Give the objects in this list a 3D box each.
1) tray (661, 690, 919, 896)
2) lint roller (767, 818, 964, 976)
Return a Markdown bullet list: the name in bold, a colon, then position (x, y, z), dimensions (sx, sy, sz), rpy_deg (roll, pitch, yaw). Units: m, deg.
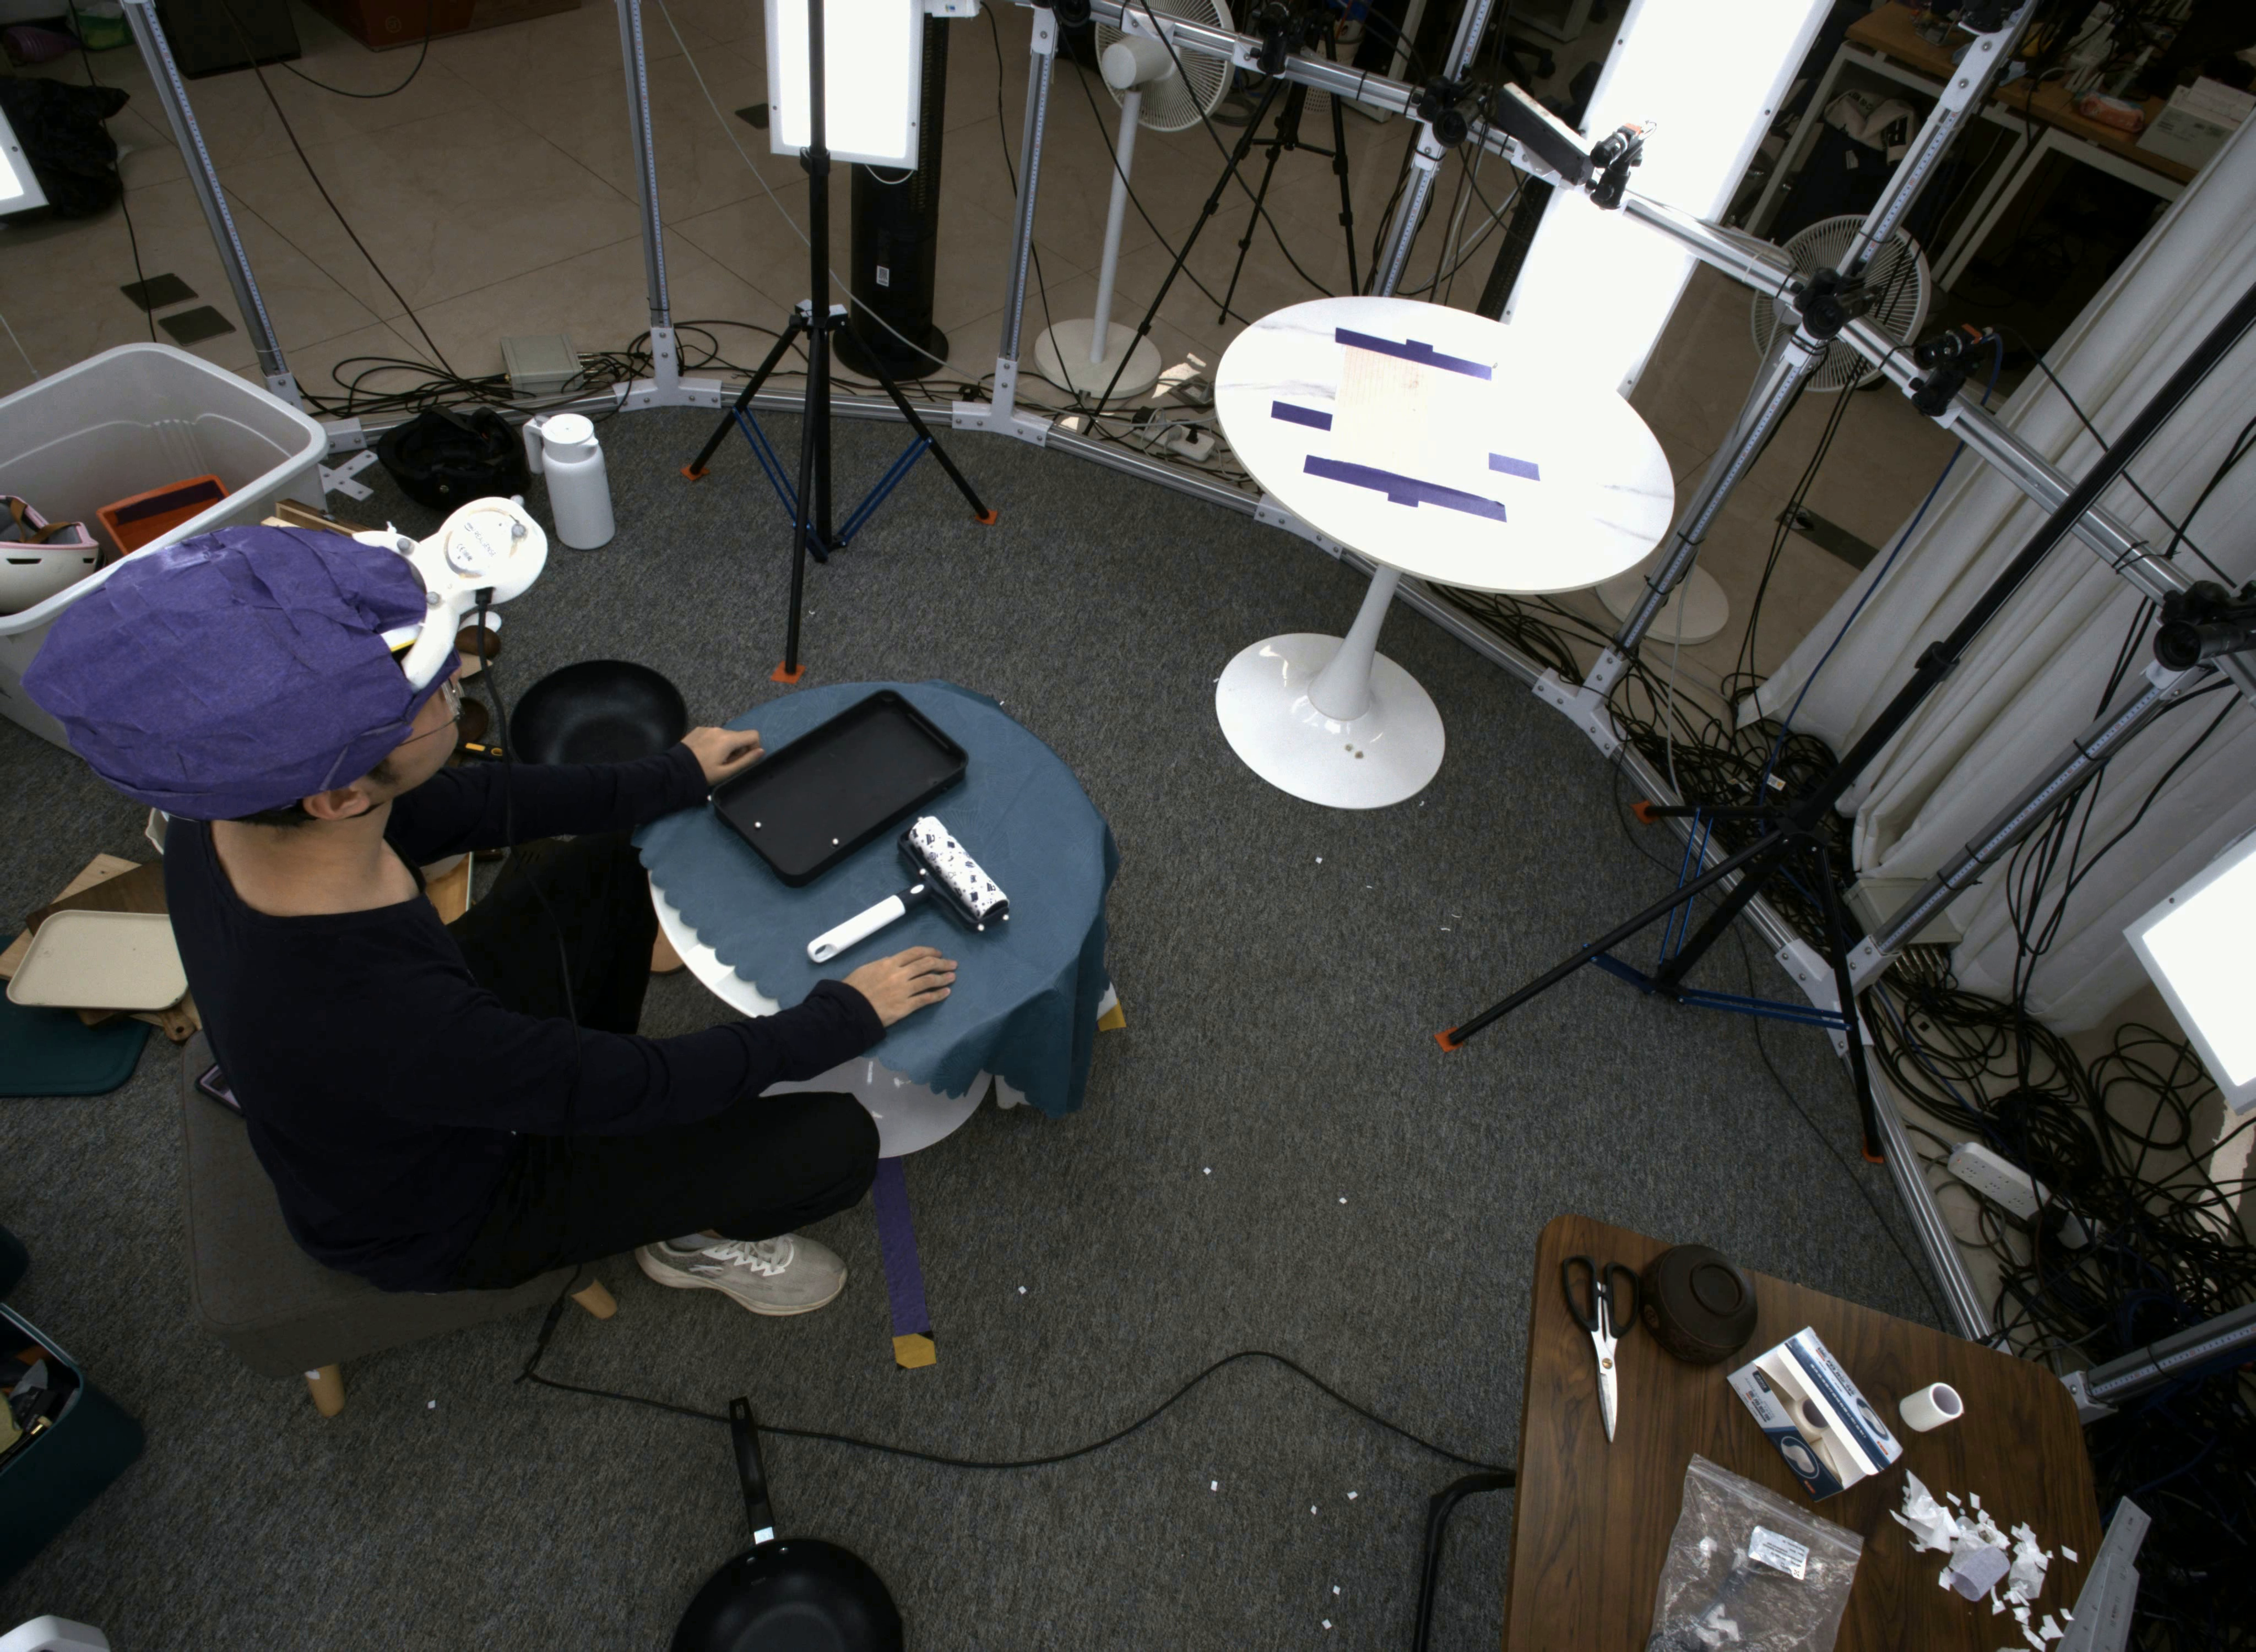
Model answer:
- **tray**: position (-0.449, -0.052, 1.744), dimensions (0.180, 0.038, 0.318), rpy_deg (39, 55, 15)
- **lint roller**: position (-0.351, 0.108, 1.648), dimensions (0.247, 0.051, 0.172), rpy_deg (-36, 70, -29)
